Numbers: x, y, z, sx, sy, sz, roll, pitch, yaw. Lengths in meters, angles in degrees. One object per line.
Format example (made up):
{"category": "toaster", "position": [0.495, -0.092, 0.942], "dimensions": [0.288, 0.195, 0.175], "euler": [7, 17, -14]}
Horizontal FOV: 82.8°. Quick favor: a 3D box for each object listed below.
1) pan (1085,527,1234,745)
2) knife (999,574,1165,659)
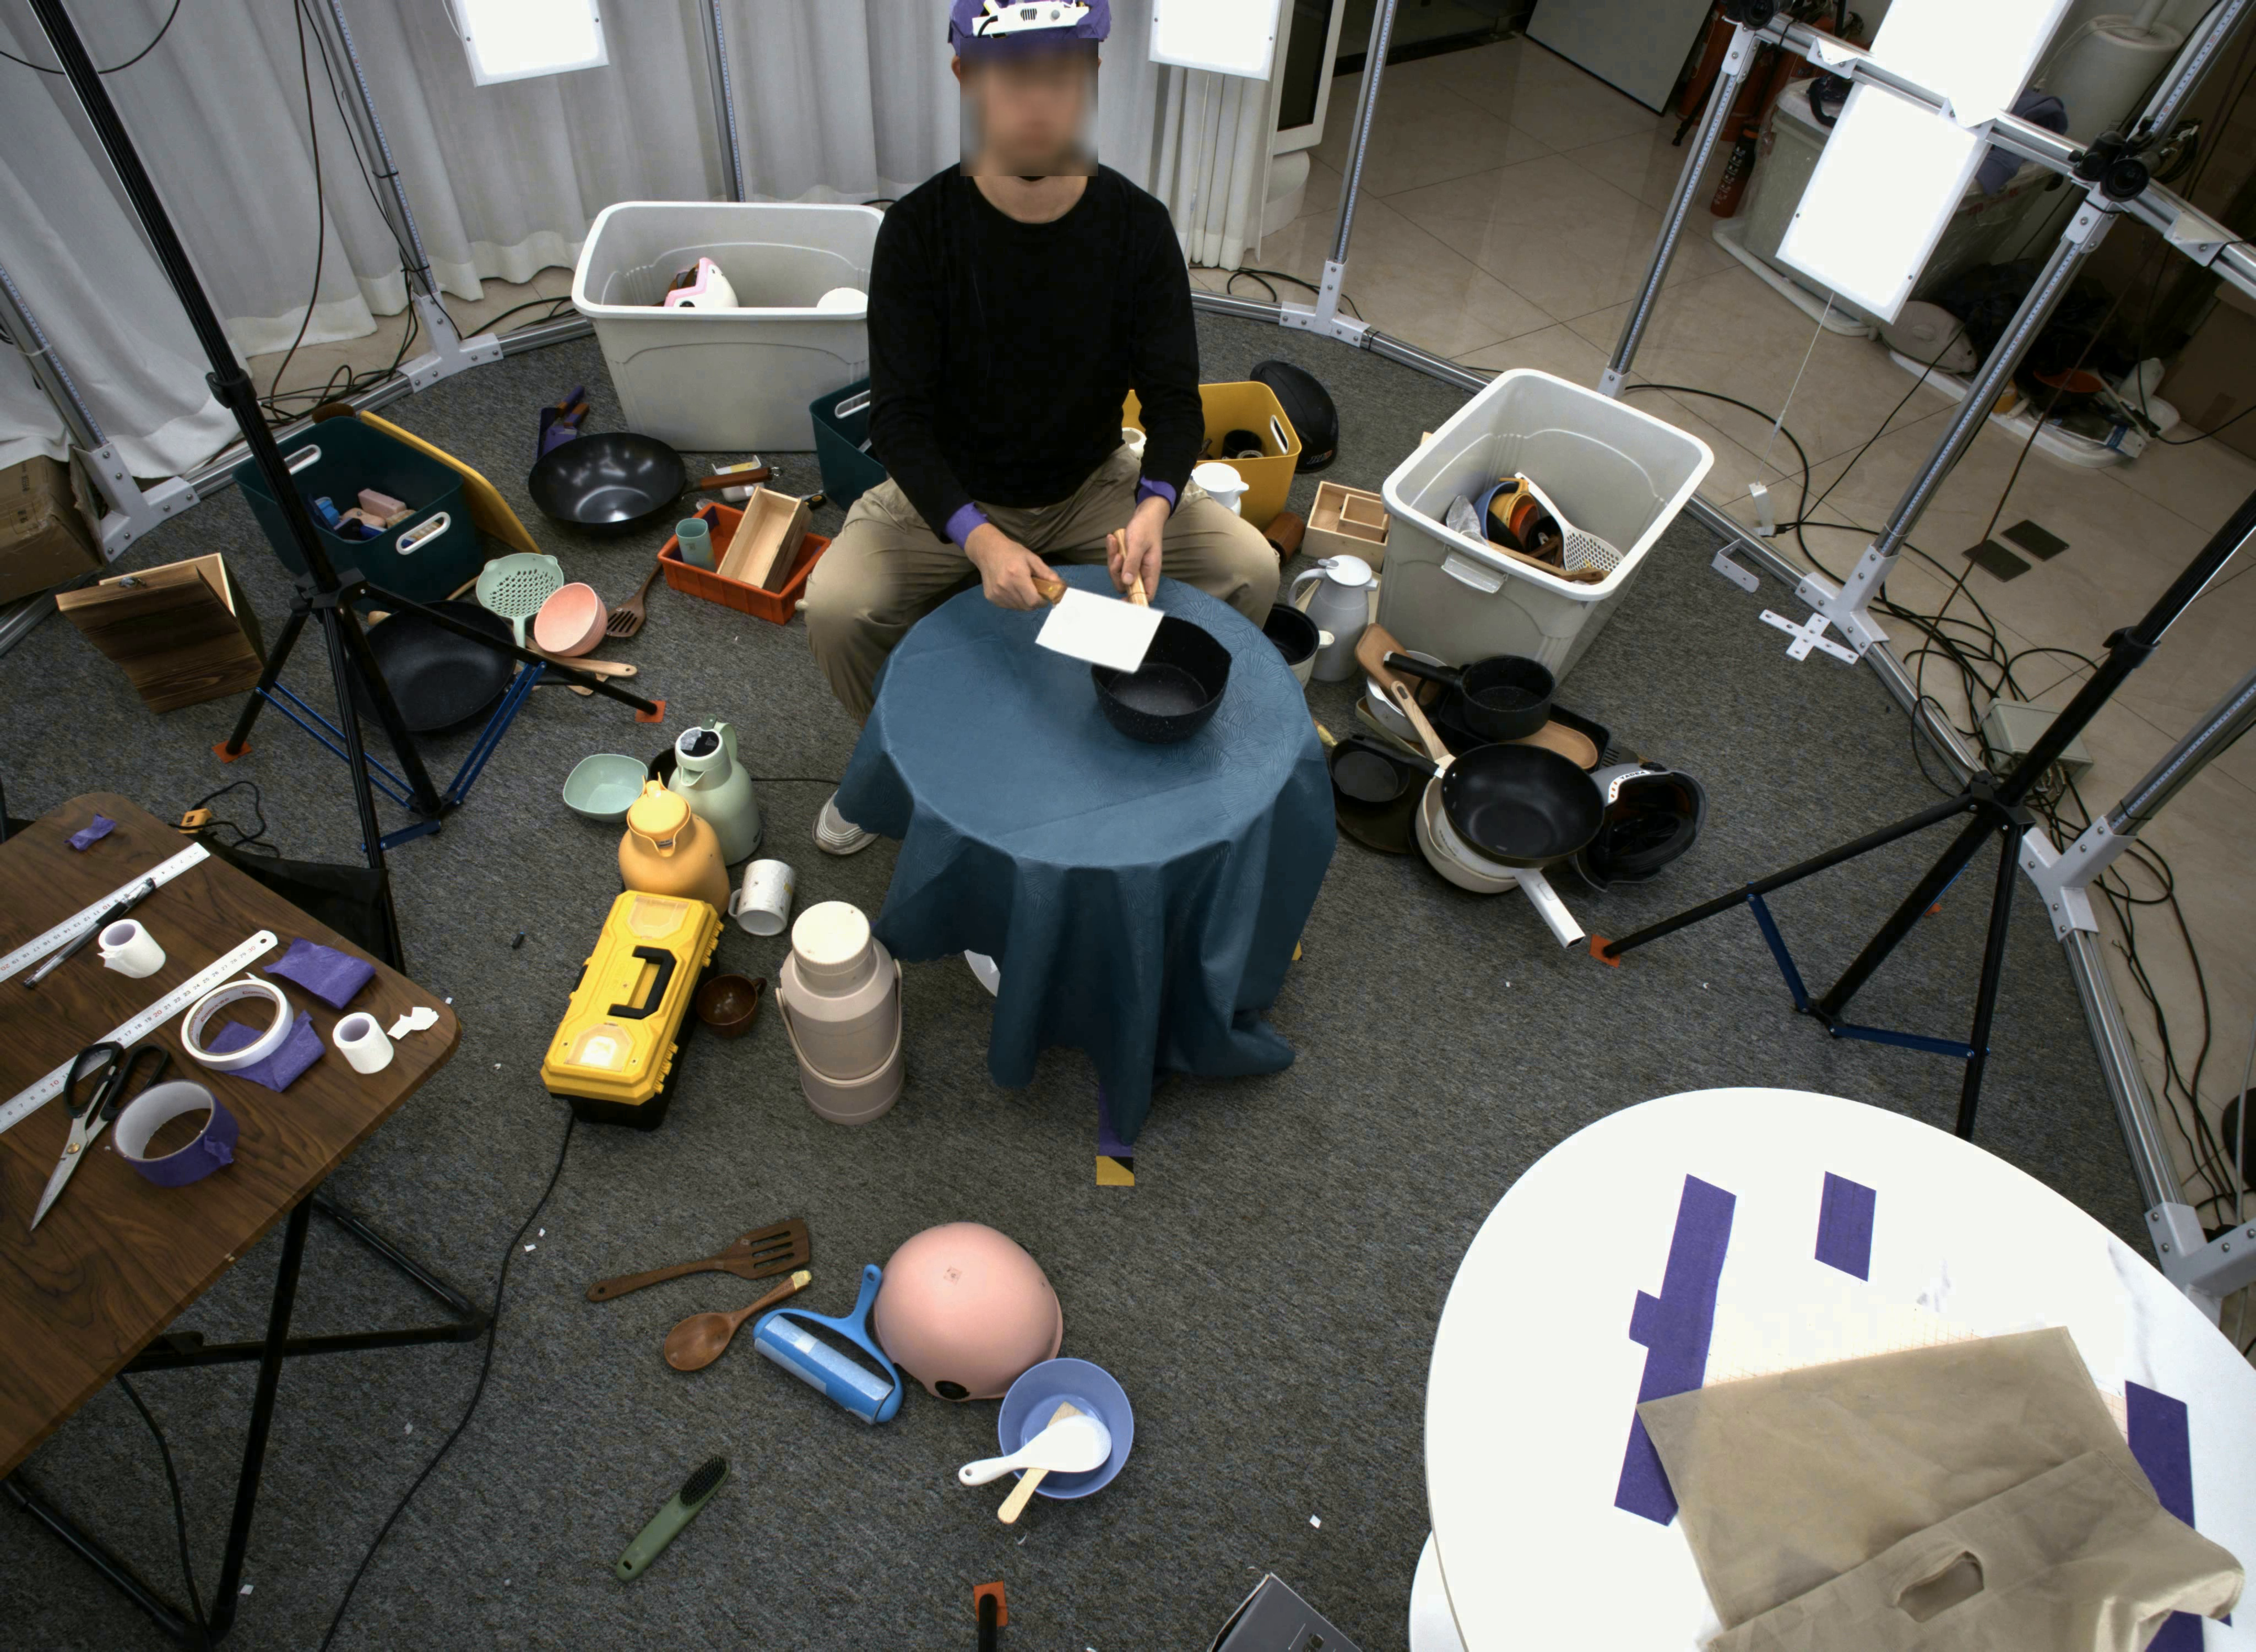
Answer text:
{"category": "pan", "position": [0.024, -0.268, 1.819], "dimensions": [0.207, 0.106, 0.351], "euler": [-10, 56, -11]}
{"category": "knife", "position": [-0.078, -0.287, 1.767], "dimensions": [0.309, 0.020, 0.093], "euler": [21, 84, 39]}
